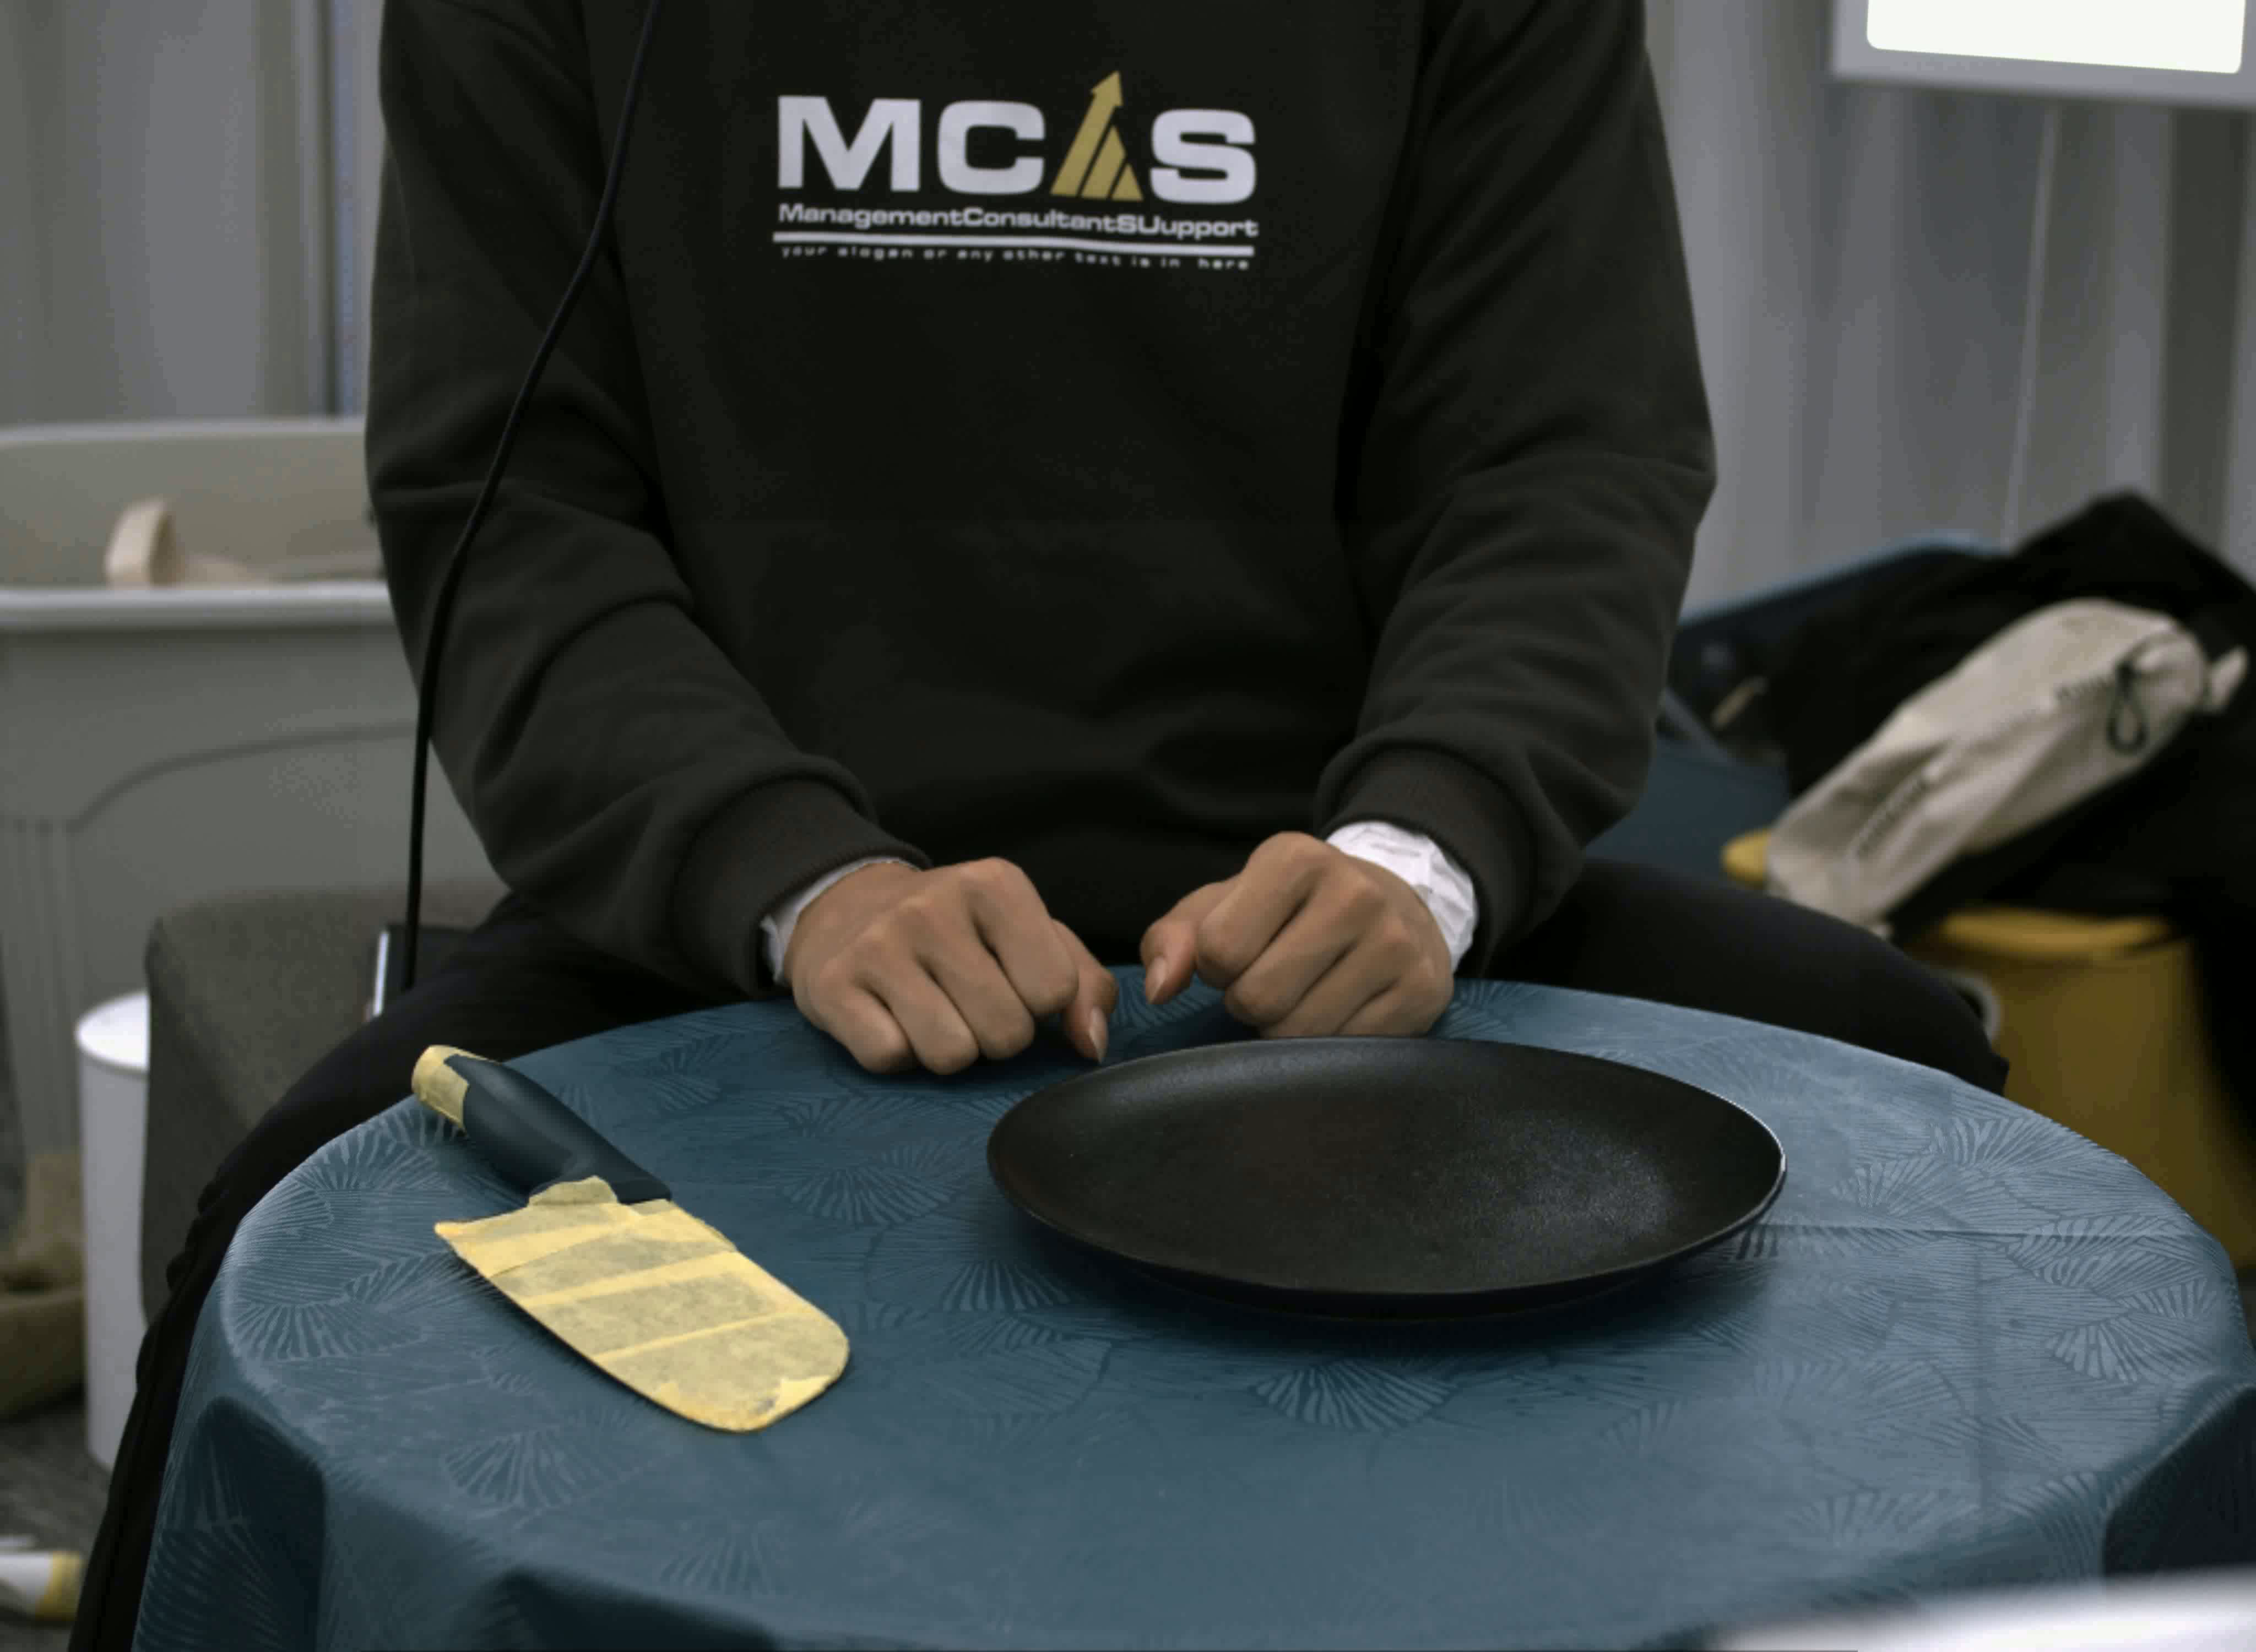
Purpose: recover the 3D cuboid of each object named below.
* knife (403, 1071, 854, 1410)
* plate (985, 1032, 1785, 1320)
[{"bbox_3d":[-0.162,0.123,1.555,0.081,0.027,0.286,-6,18,-28],"label":"knife"},{"bbox_3d":[0.077,0.108,1.598,0.243,0.023,0.243,1,15,0],"label":"plate"}]
